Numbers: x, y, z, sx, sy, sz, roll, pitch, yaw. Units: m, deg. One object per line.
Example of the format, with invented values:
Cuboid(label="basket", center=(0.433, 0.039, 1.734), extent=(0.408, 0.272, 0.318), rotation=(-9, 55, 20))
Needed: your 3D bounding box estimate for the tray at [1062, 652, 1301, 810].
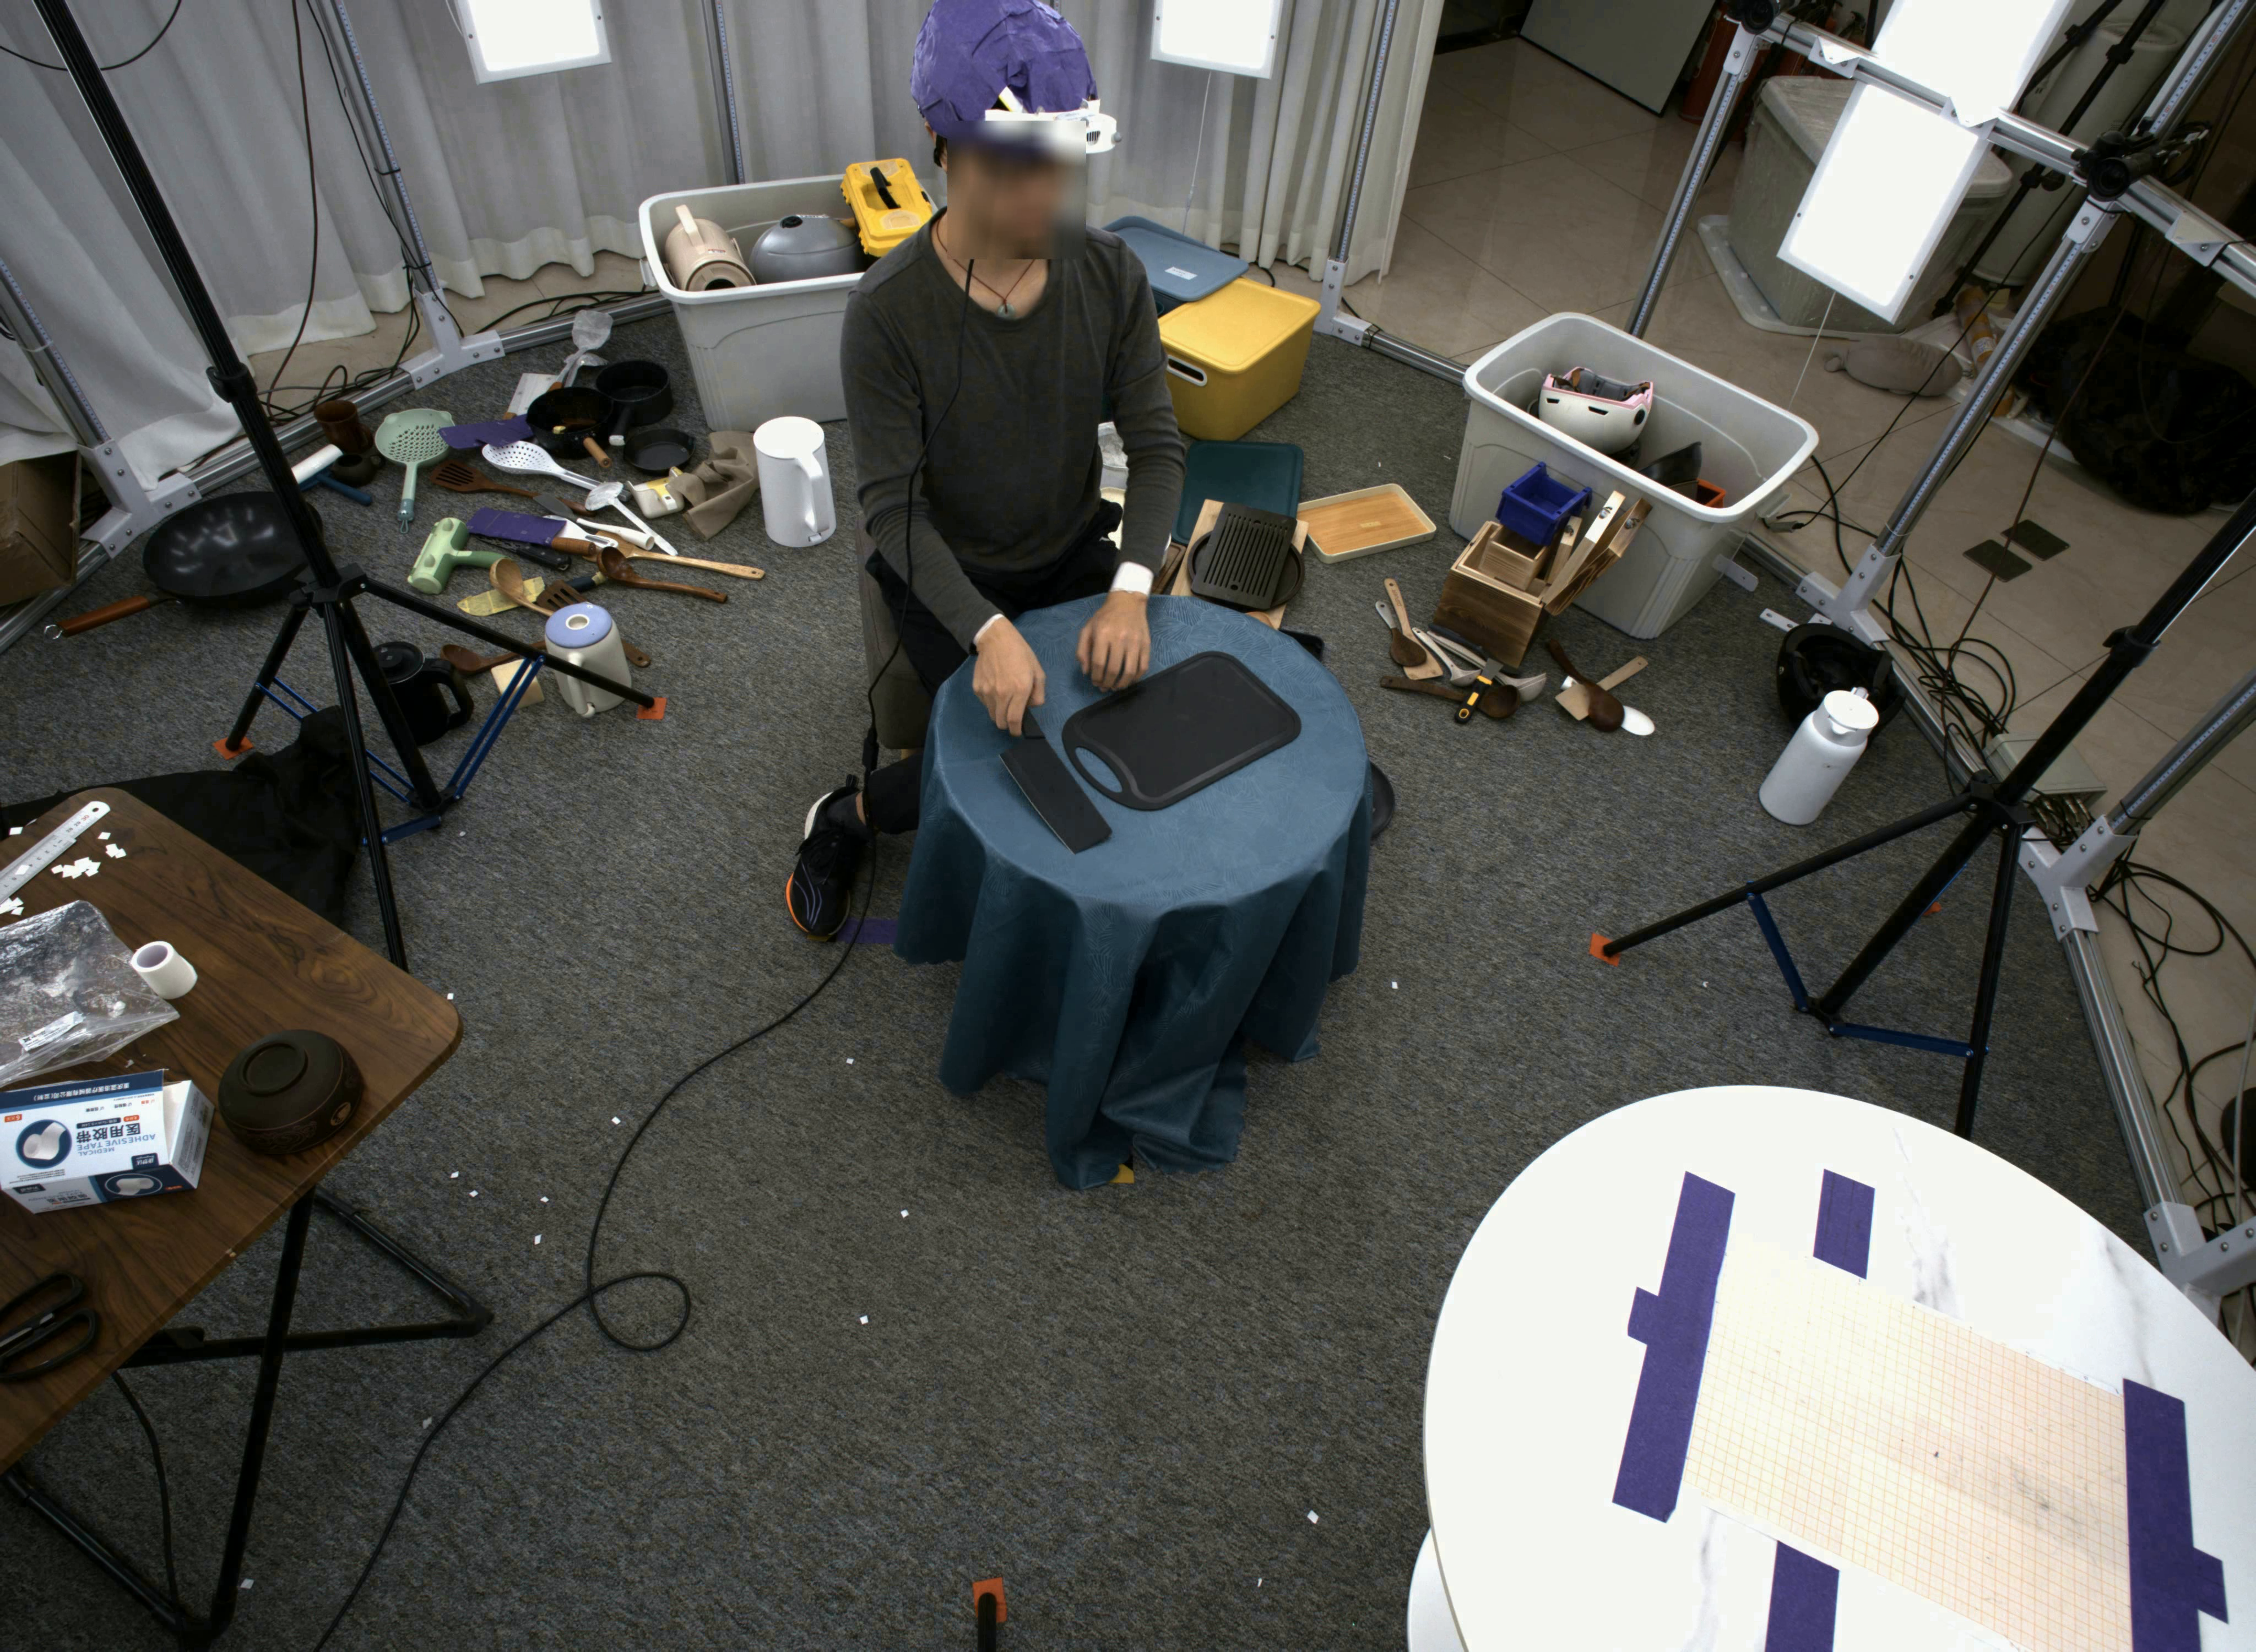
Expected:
Cuboid(label="tray", center=(0.071, -0.136, 1.786), extent=(0.327, 0.009, 0.215), rotation=(-27, 56, -24))

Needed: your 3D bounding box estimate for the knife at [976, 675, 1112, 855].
Cuboid(label="knife", center=(-0.124, -0.087, 1.702), extent=(0.081, 0.020, 0.308), rotation=(-23, 62, -17))
